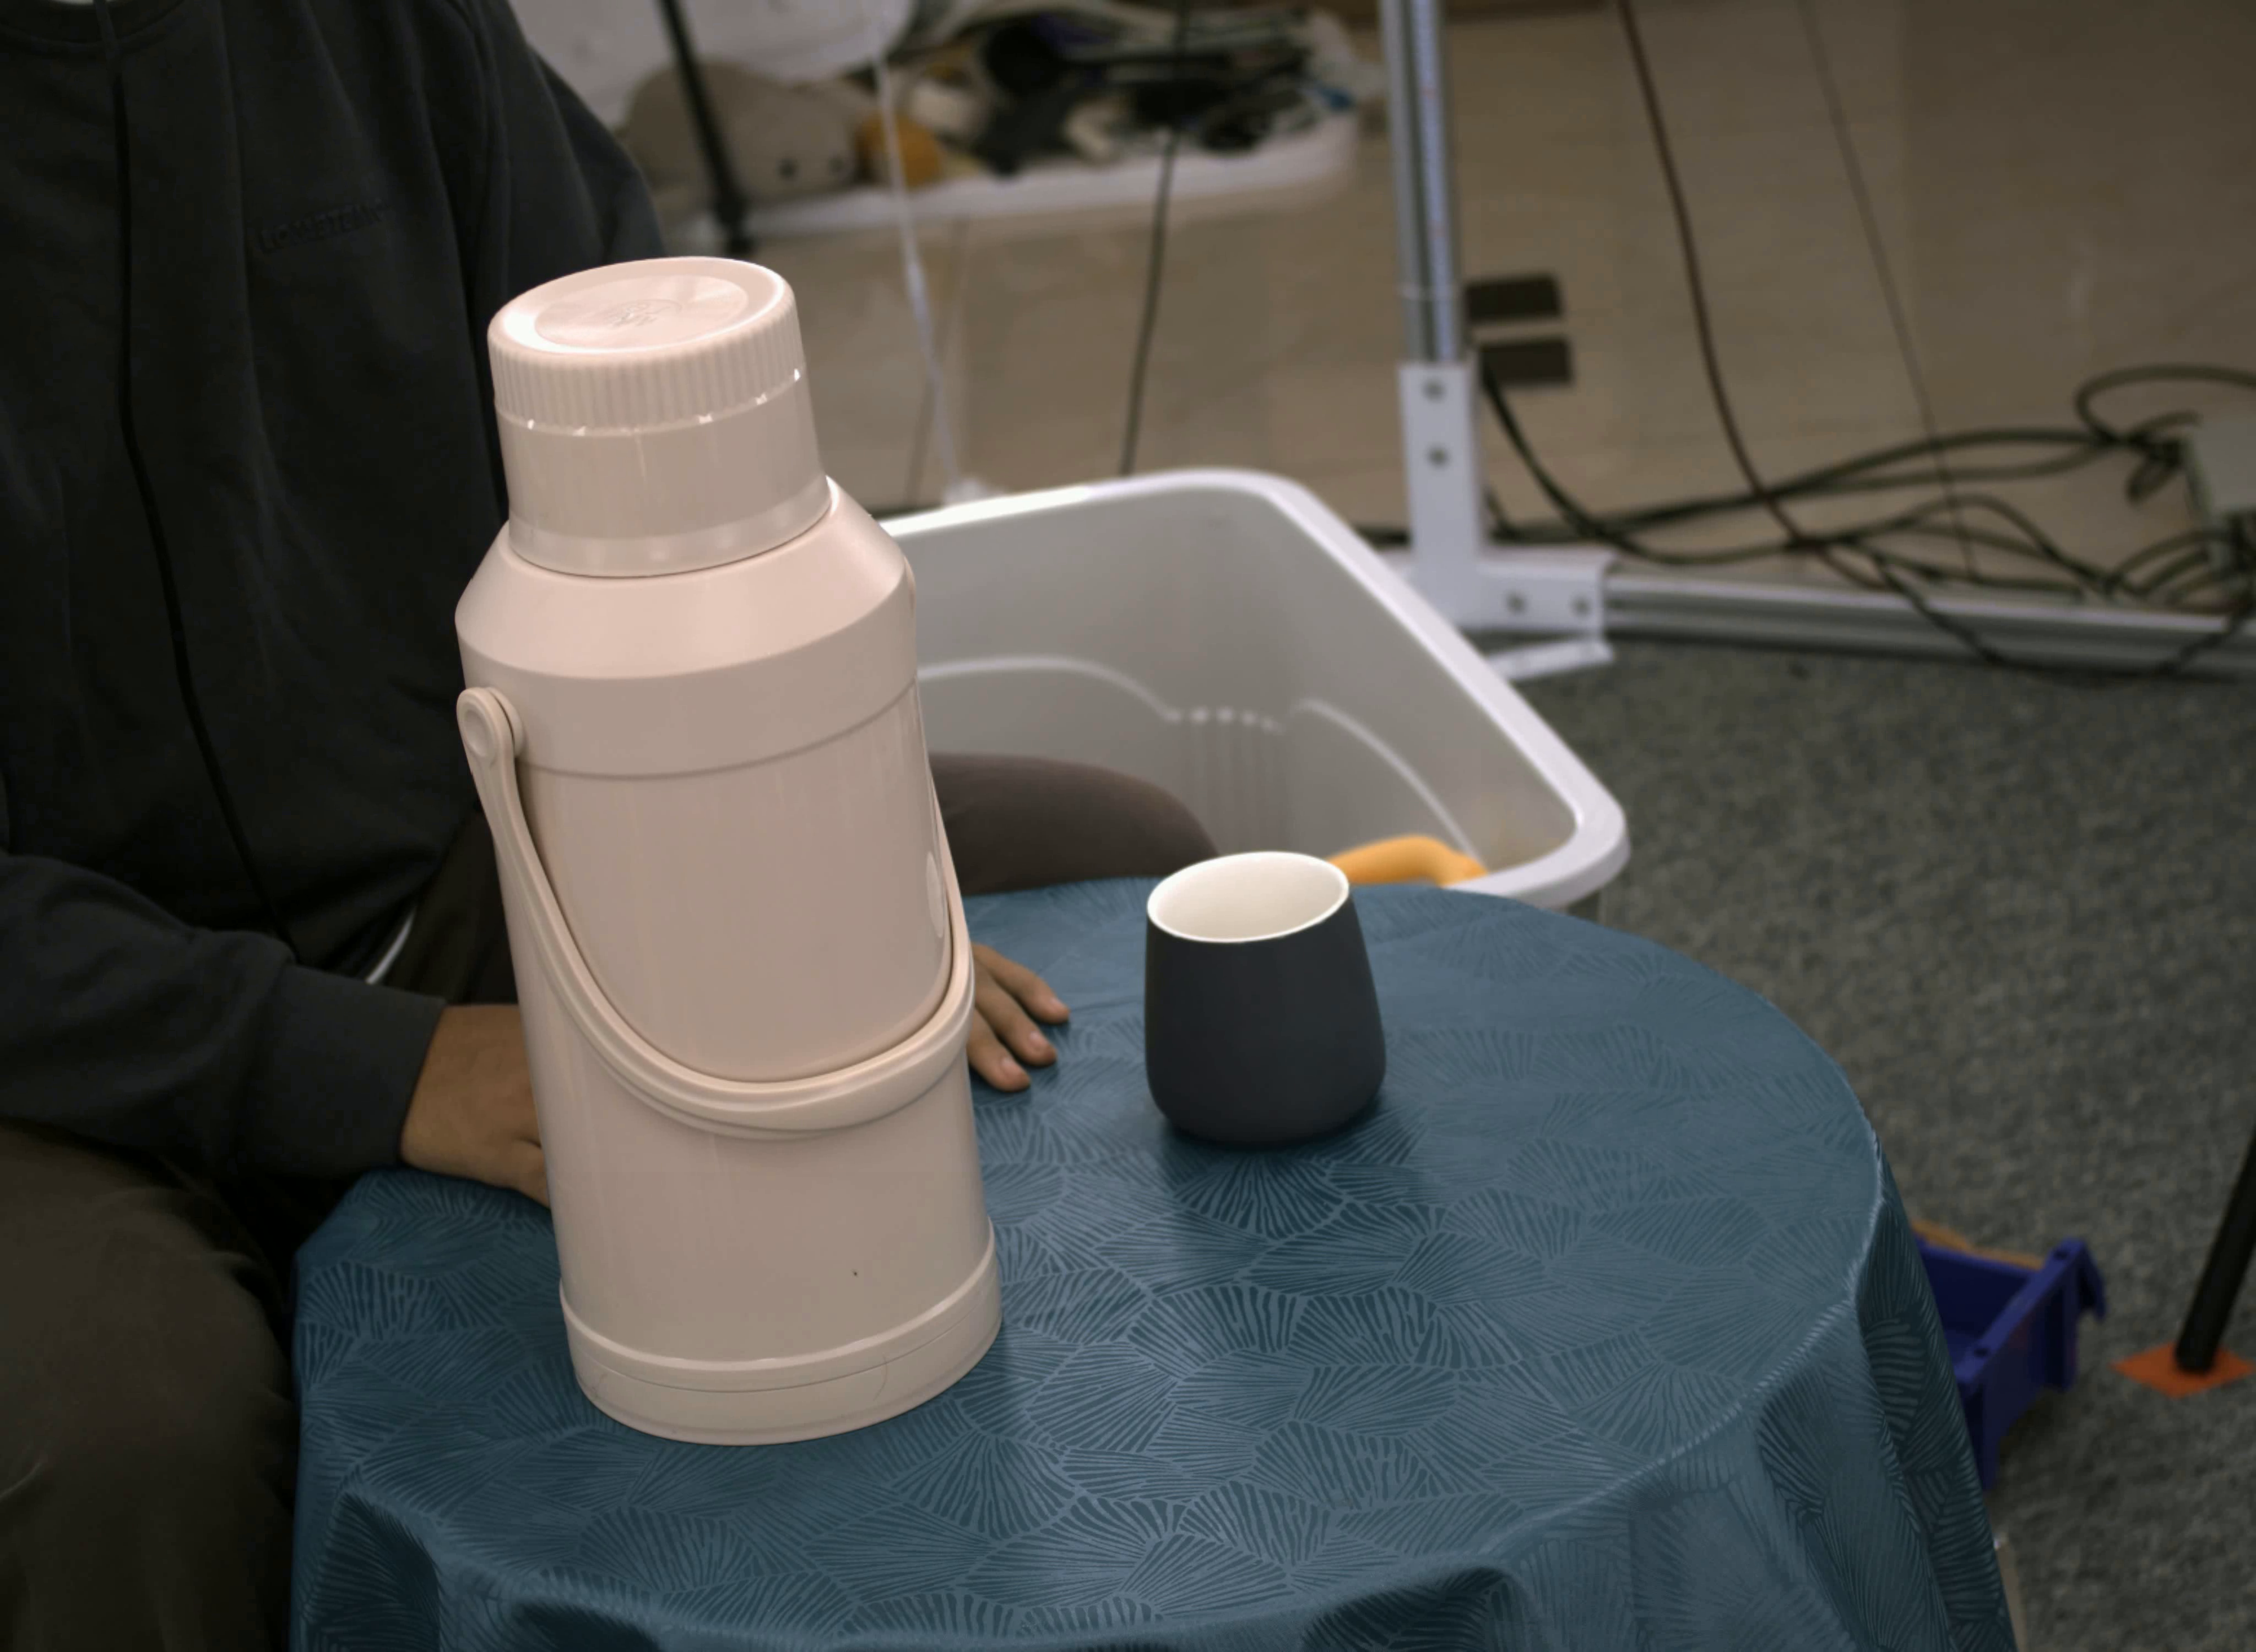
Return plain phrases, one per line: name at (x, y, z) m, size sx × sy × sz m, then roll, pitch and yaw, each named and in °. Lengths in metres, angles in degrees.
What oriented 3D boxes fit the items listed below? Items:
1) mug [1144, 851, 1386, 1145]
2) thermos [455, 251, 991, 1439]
mug at (0.057, 0.061, 2.195) m, size 0.093 × 0.091 × 0.122 m, roll 7°, pitch 28°, yaw 27°
thermos at (-0.153, 0.001, 2.001) m, size 0.174 × 0.413 × 0.205 m, roll -24°, pitch 32°, yaw -31°
